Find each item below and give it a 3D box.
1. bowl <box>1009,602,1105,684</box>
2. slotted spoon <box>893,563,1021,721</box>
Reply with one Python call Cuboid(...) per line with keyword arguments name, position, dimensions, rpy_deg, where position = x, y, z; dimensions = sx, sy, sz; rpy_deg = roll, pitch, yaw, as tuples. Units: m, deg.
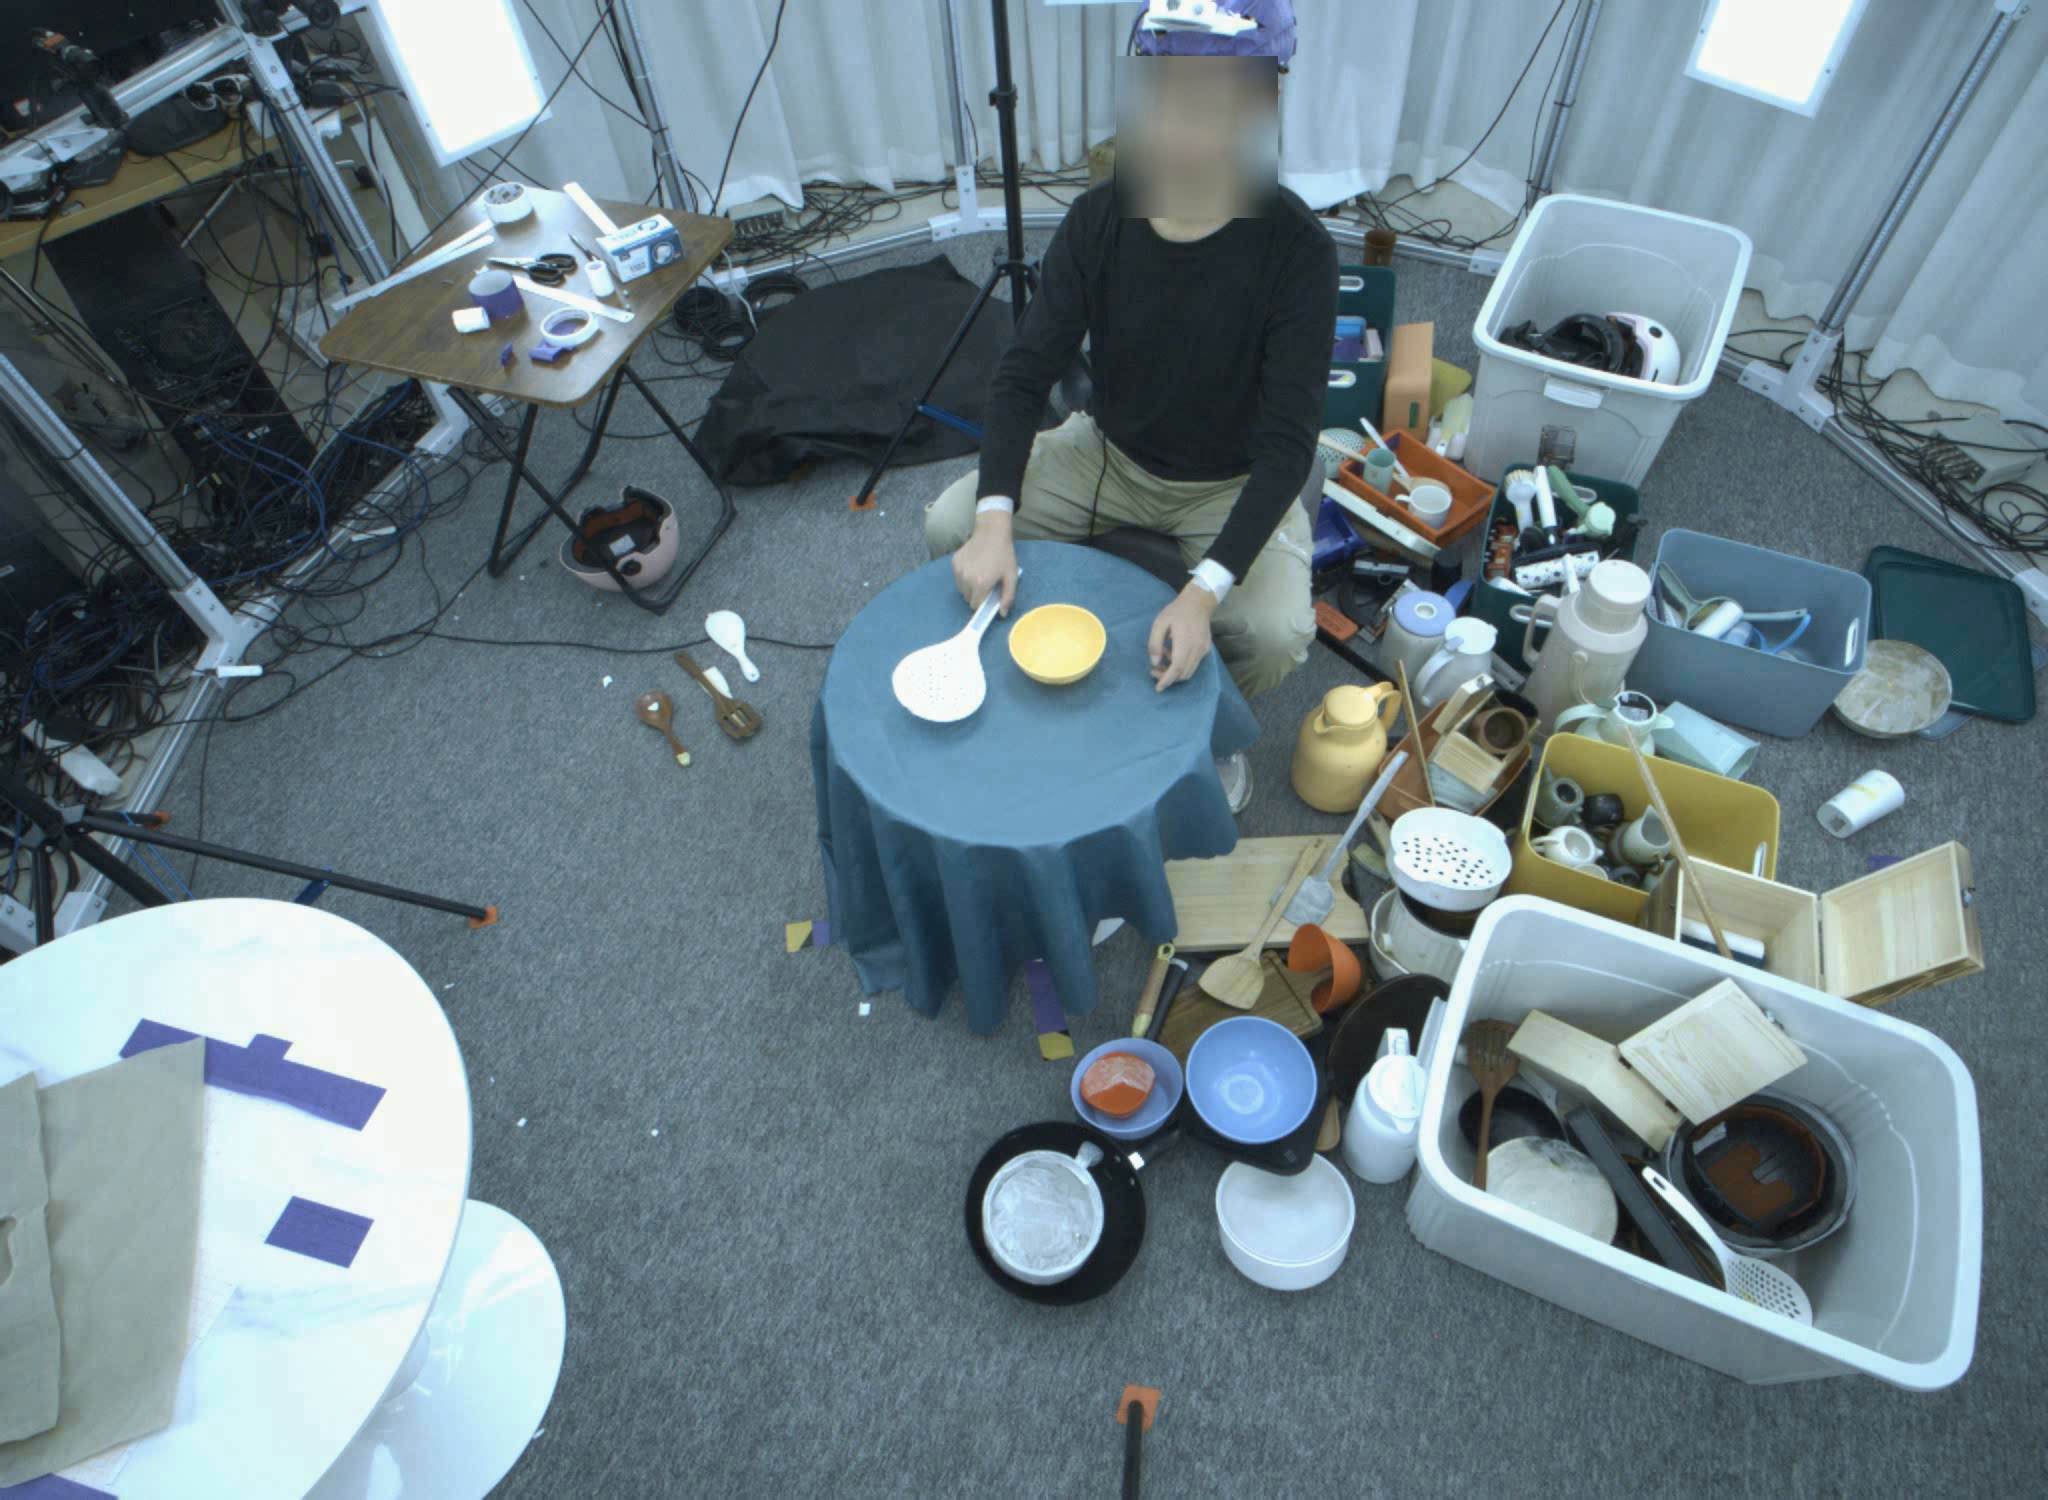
Cuboid(name="bowl", position=(0.051, -0.150, 1.858), dimensions=(0.145, 0.061, 0.144), rpy_deg=(-1, 57, 2))
Cuboid(name="slotted spoon", position=(-0.085, -0.171, 1.879), dimensions=(0.135, 0.046, 0.350), rpy_deg=(25, 59, 5))
